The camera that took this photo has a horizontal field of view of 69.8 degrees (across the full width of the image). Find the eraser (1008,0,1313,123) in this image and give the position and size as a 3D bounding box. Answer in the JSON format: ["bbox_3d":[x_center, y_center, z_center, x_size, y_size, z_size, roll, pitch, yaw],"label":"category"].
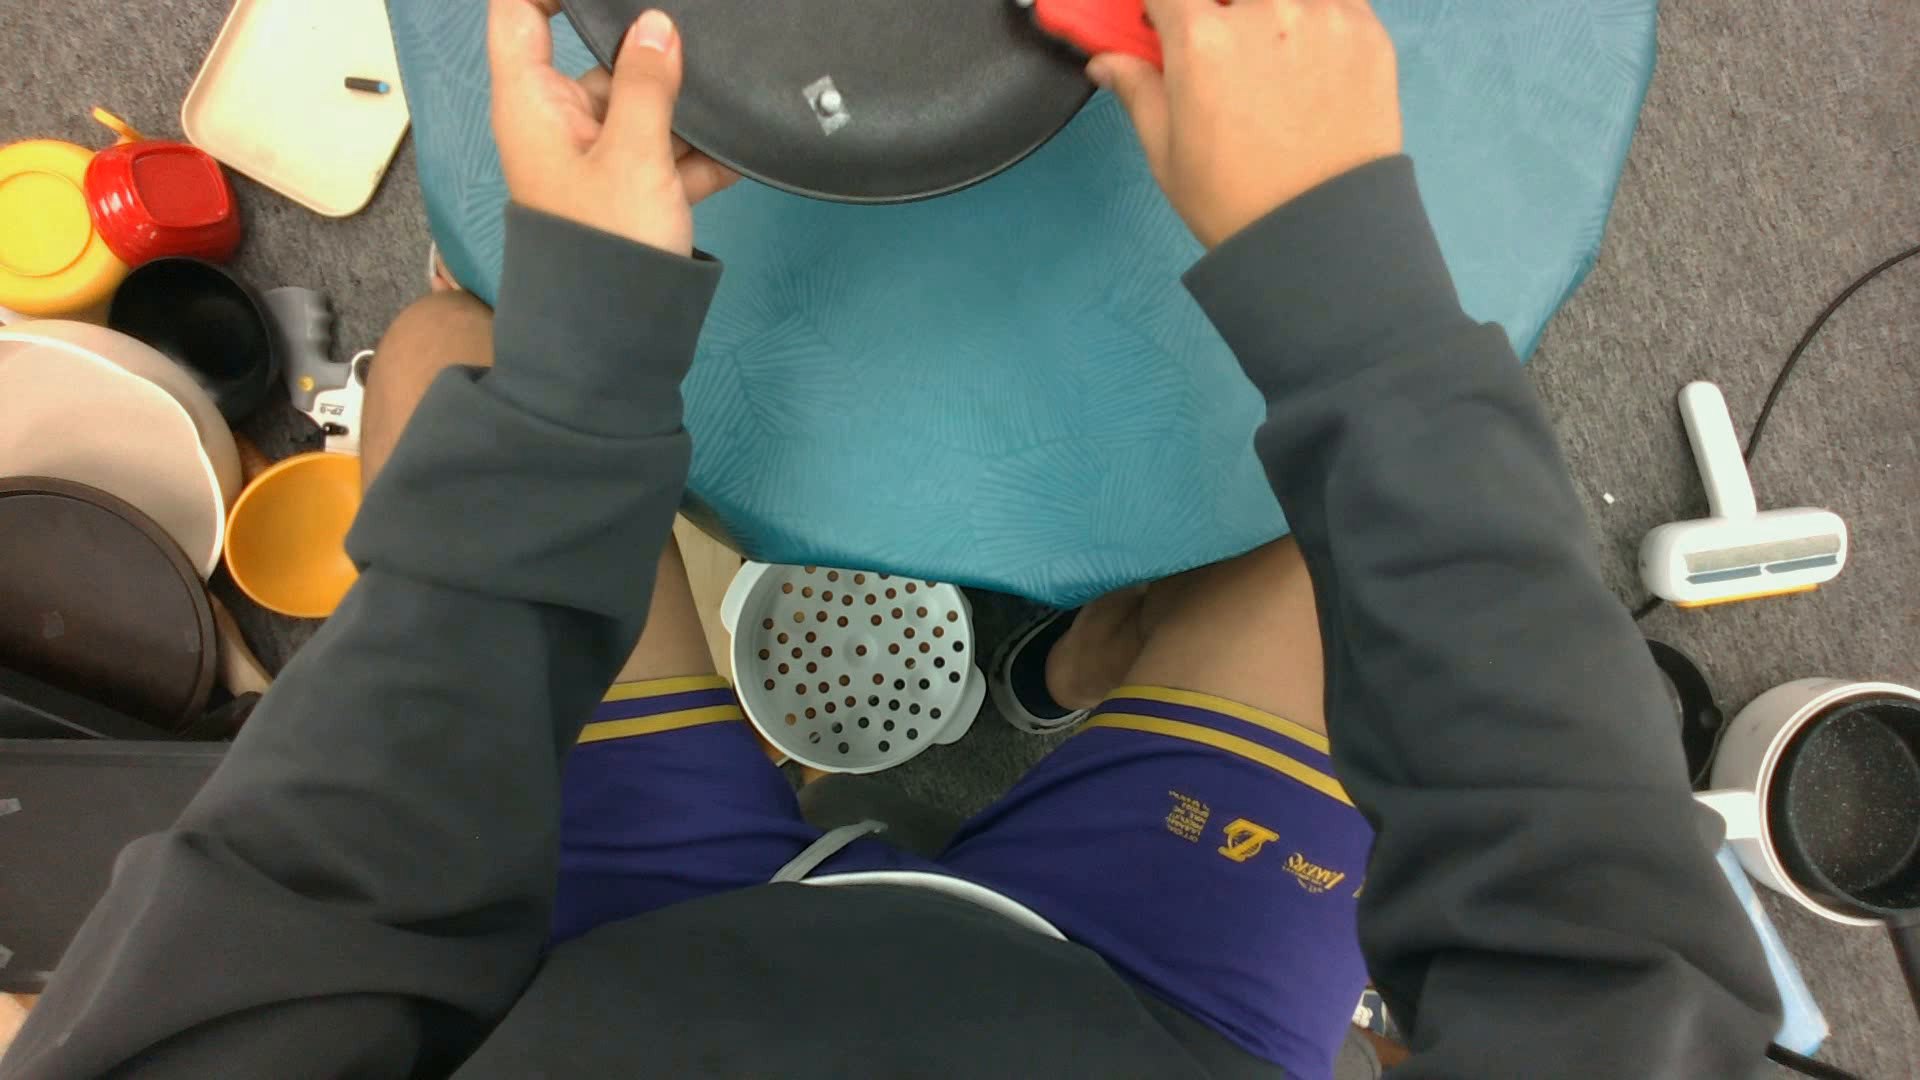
[{"bbox_3d":[0.076,-0.205,0.525,0.108,0.023,0.059,19,94,-8],"label":"eraser"}]

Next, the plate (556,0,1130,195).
[{"bbox_3d":[-0.041,-0.249,0.496,0.245,0.023,0.244,-6,105,-22],"label":"plate"}]
